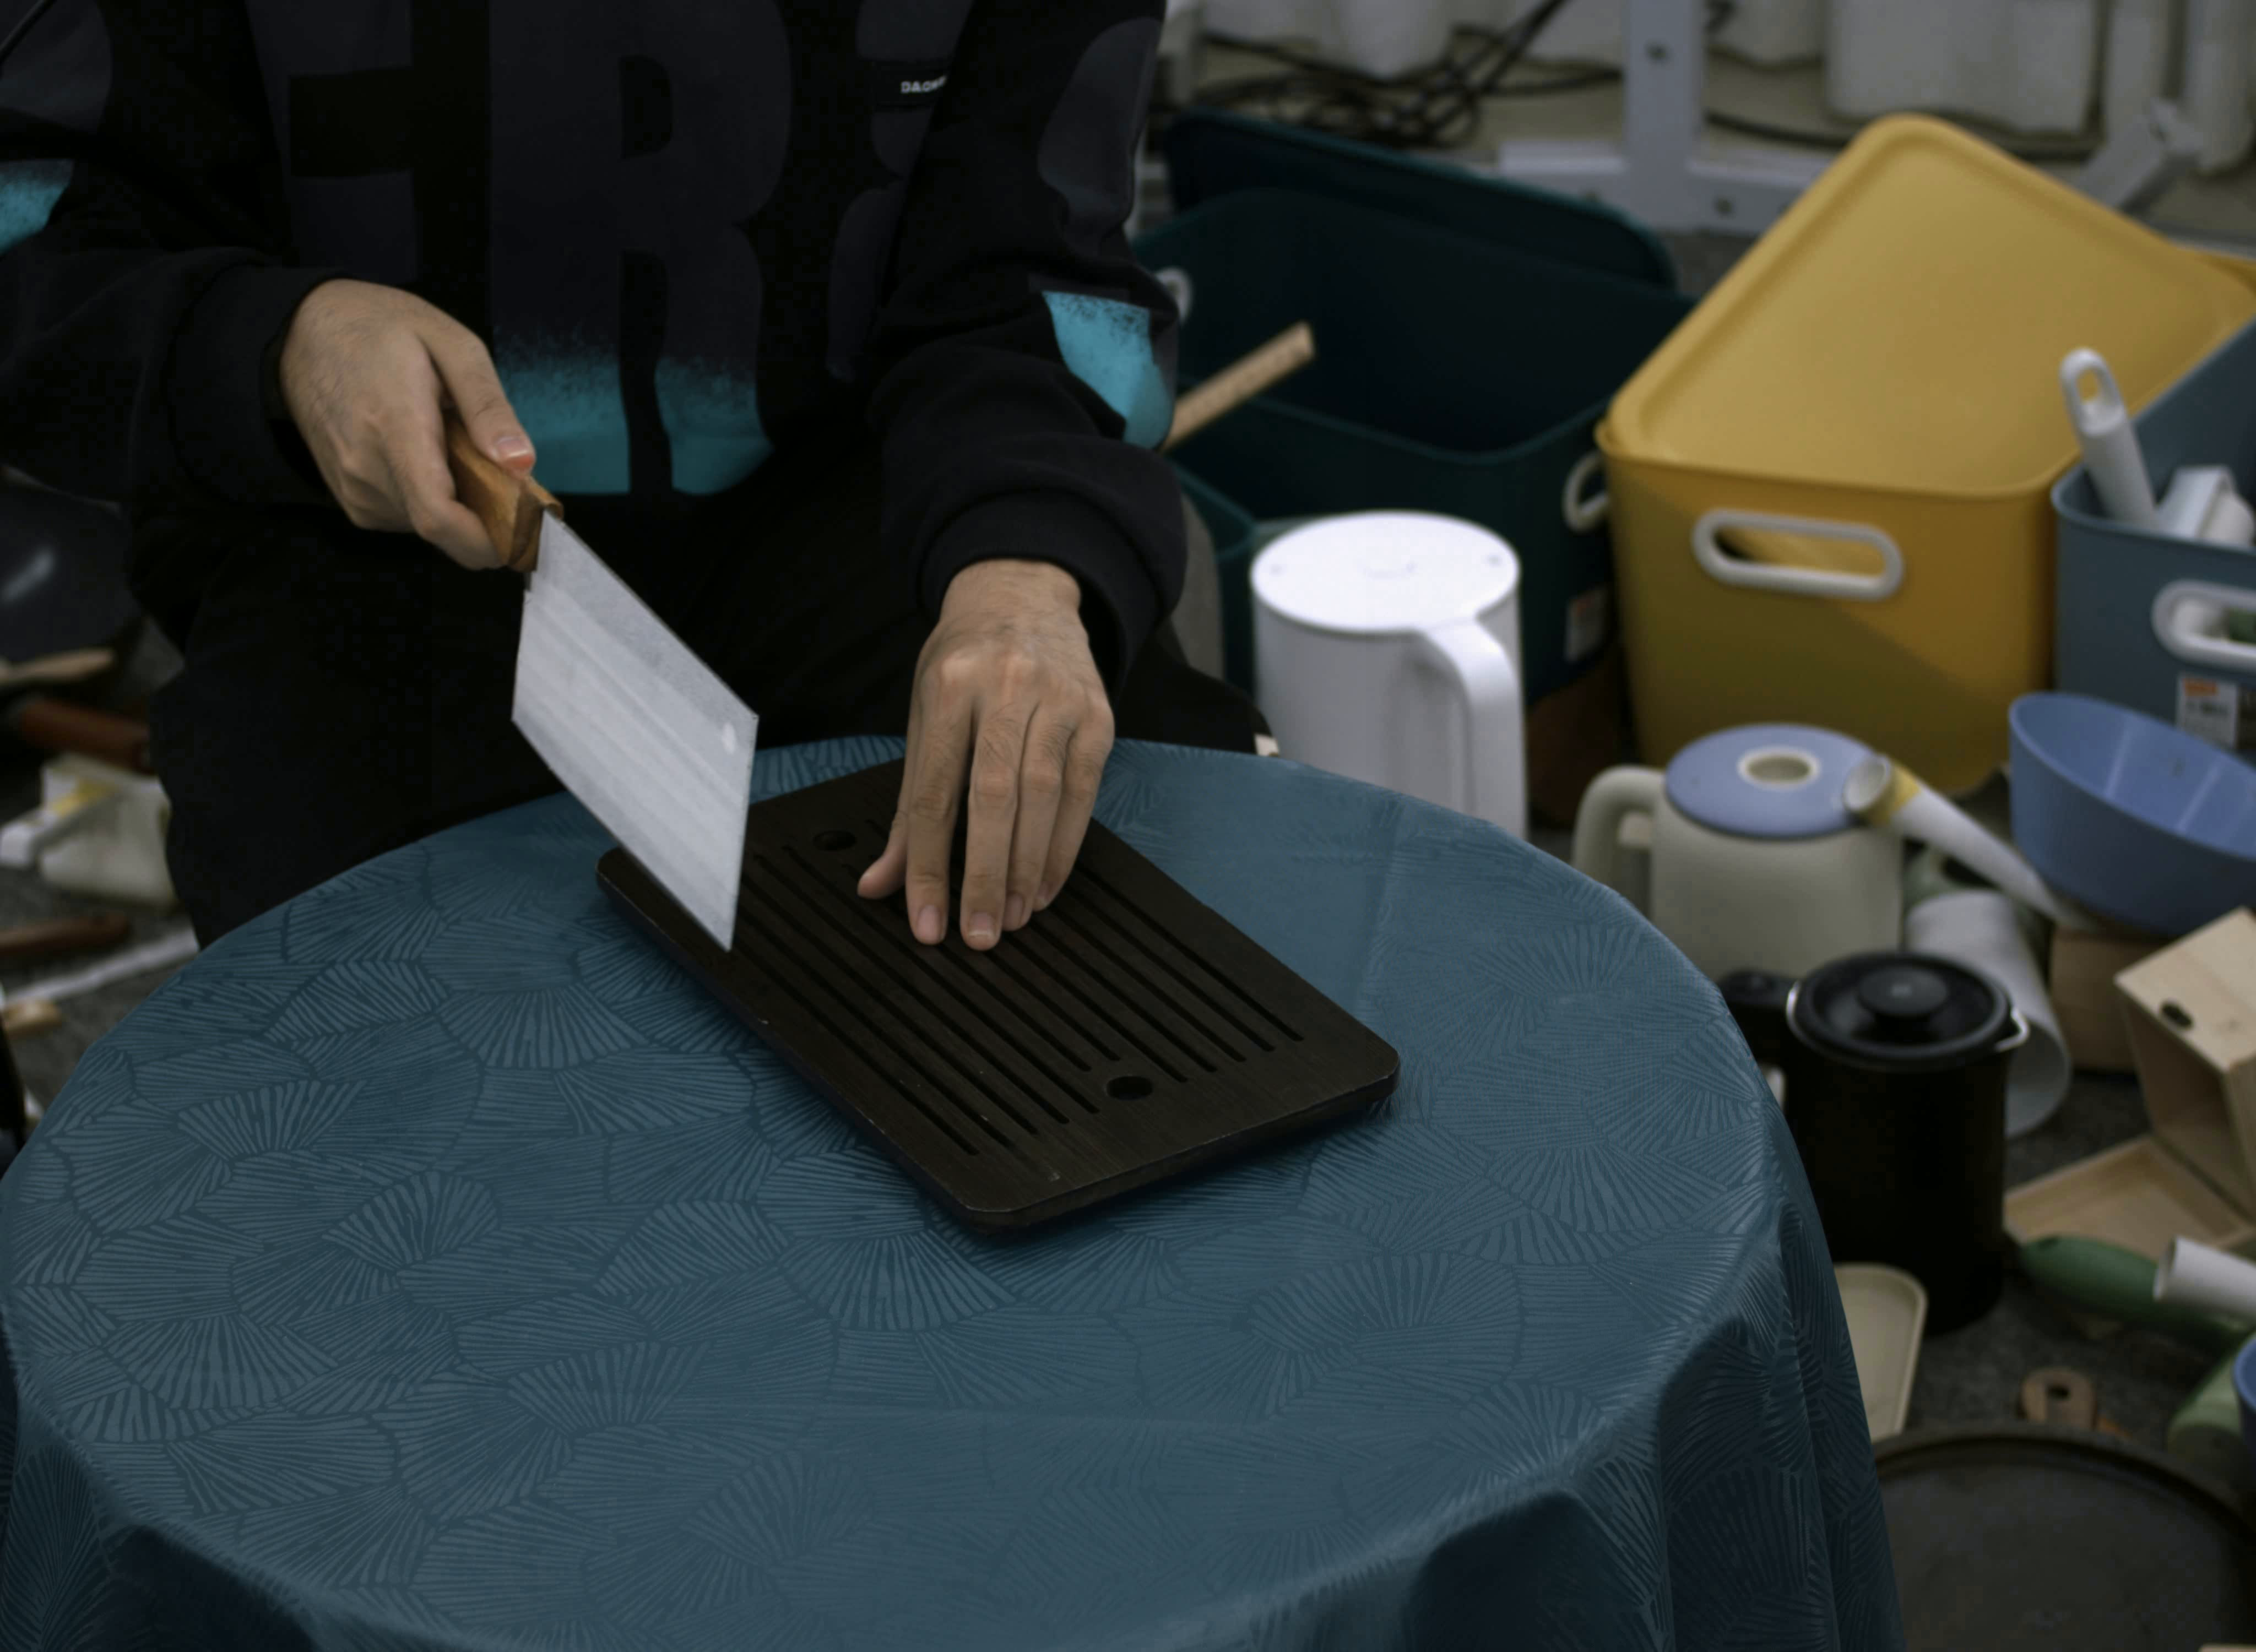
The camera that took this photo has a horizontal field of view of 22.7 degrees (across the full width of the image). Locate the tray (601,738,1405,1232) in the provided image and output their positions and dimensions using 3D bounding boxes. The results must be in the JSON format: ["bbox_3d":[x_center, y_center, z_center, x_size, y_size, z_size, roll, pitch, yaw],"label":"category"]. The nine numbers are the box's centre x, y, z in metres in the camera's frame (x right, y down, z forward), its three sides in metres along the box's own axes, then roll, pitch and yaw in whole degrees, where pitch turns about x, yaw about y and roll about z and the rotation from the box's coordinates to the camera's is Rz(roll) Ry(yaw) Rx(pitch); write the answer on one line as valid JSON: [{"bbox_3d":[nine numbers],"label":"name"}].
[{"bbox_3d":[-0.049,0.052,1.980,0.171,0.018,0.307,-17,31,-25],"label":"tray"}]

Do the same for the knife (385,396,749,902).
[{"bbox_3d":[-0.201,-0.062,1.990,0.021,0.092,0.307,-4,27,-29],"label":"knife"}]
